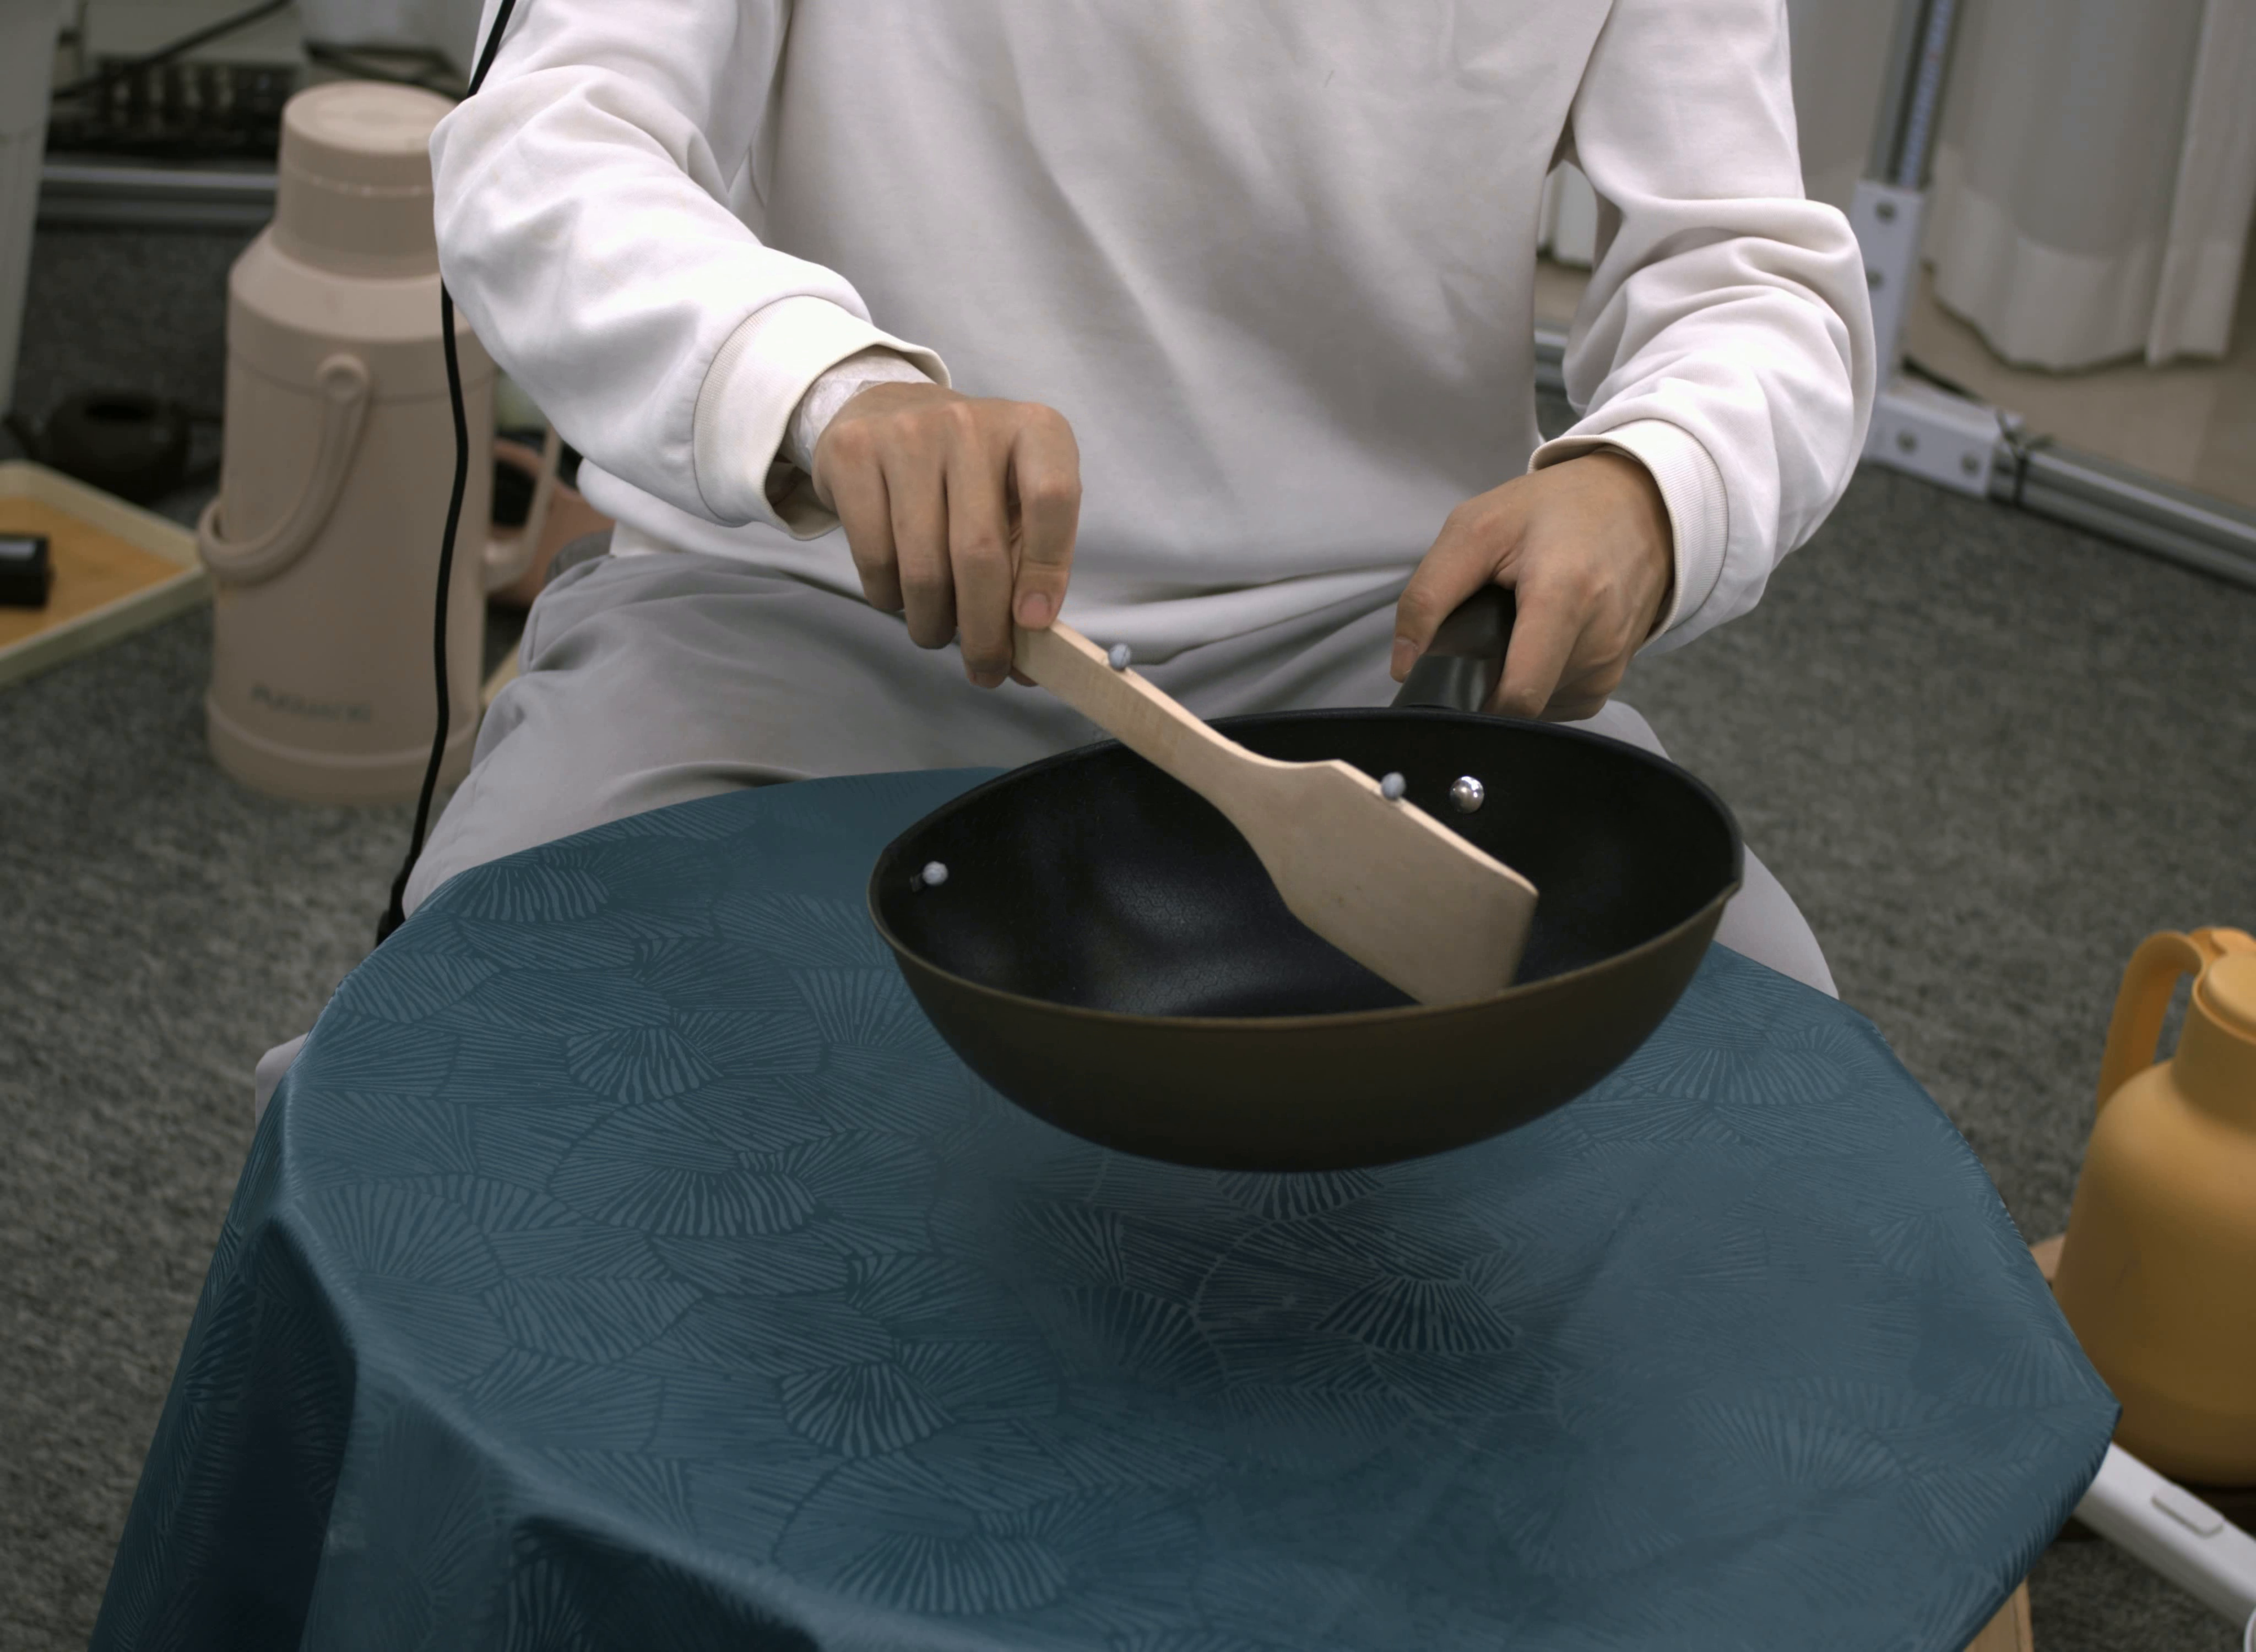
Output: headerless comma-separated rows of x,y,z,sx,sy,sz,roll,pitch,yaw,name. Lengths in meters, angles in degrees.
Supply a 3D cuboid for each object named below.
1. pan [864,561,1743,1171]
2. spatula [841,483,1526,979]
0.086,0.013,1.805,0.288,0.086,0.463,2,21,19,pan
0.012,-0.034,1.797,0.294,0.072,0.010,35,47,22,spatula
